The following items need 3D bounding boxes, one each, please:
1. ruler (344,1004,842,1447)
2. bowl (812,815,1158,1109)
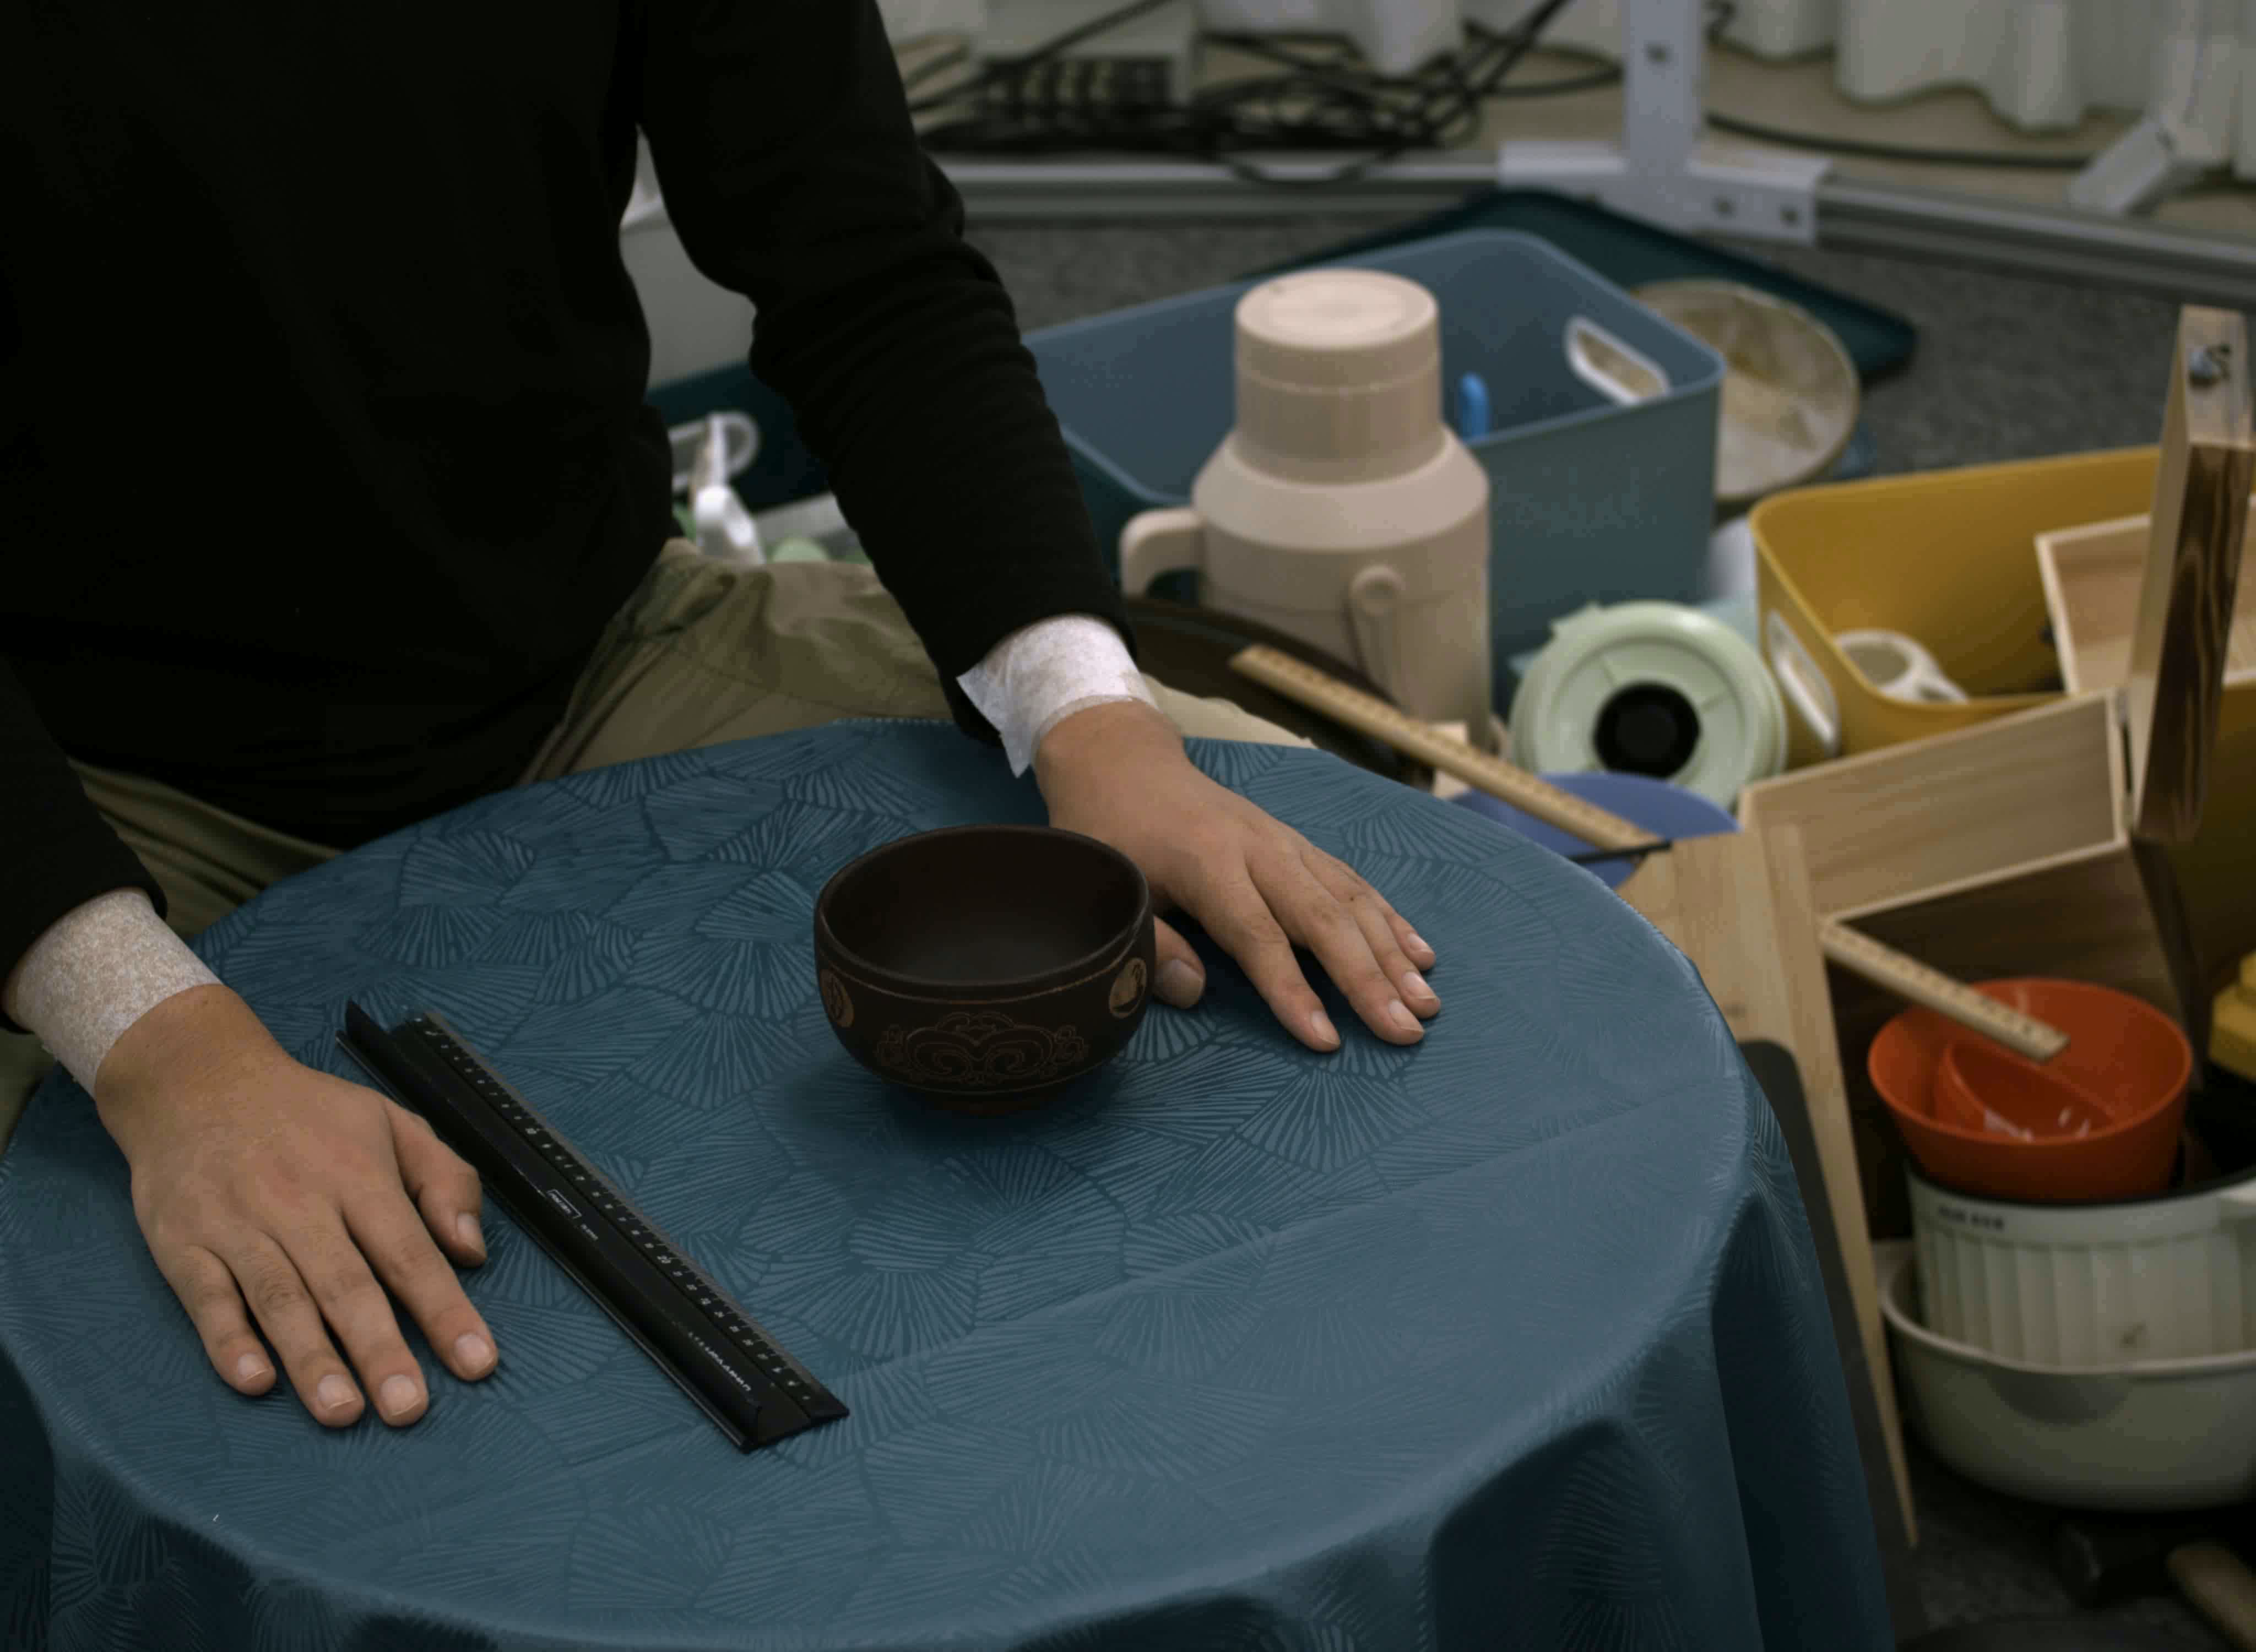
[{"bbox_3d":[-0.181,0.124,1.858,0.039,0.017,0.314,-13,28,-28],"label":"ruler"},{"bbox_3d":[-0.048,0.053,1.919,0.117,0.069,0.120,-2,27,1],"label":"bowl"}]
